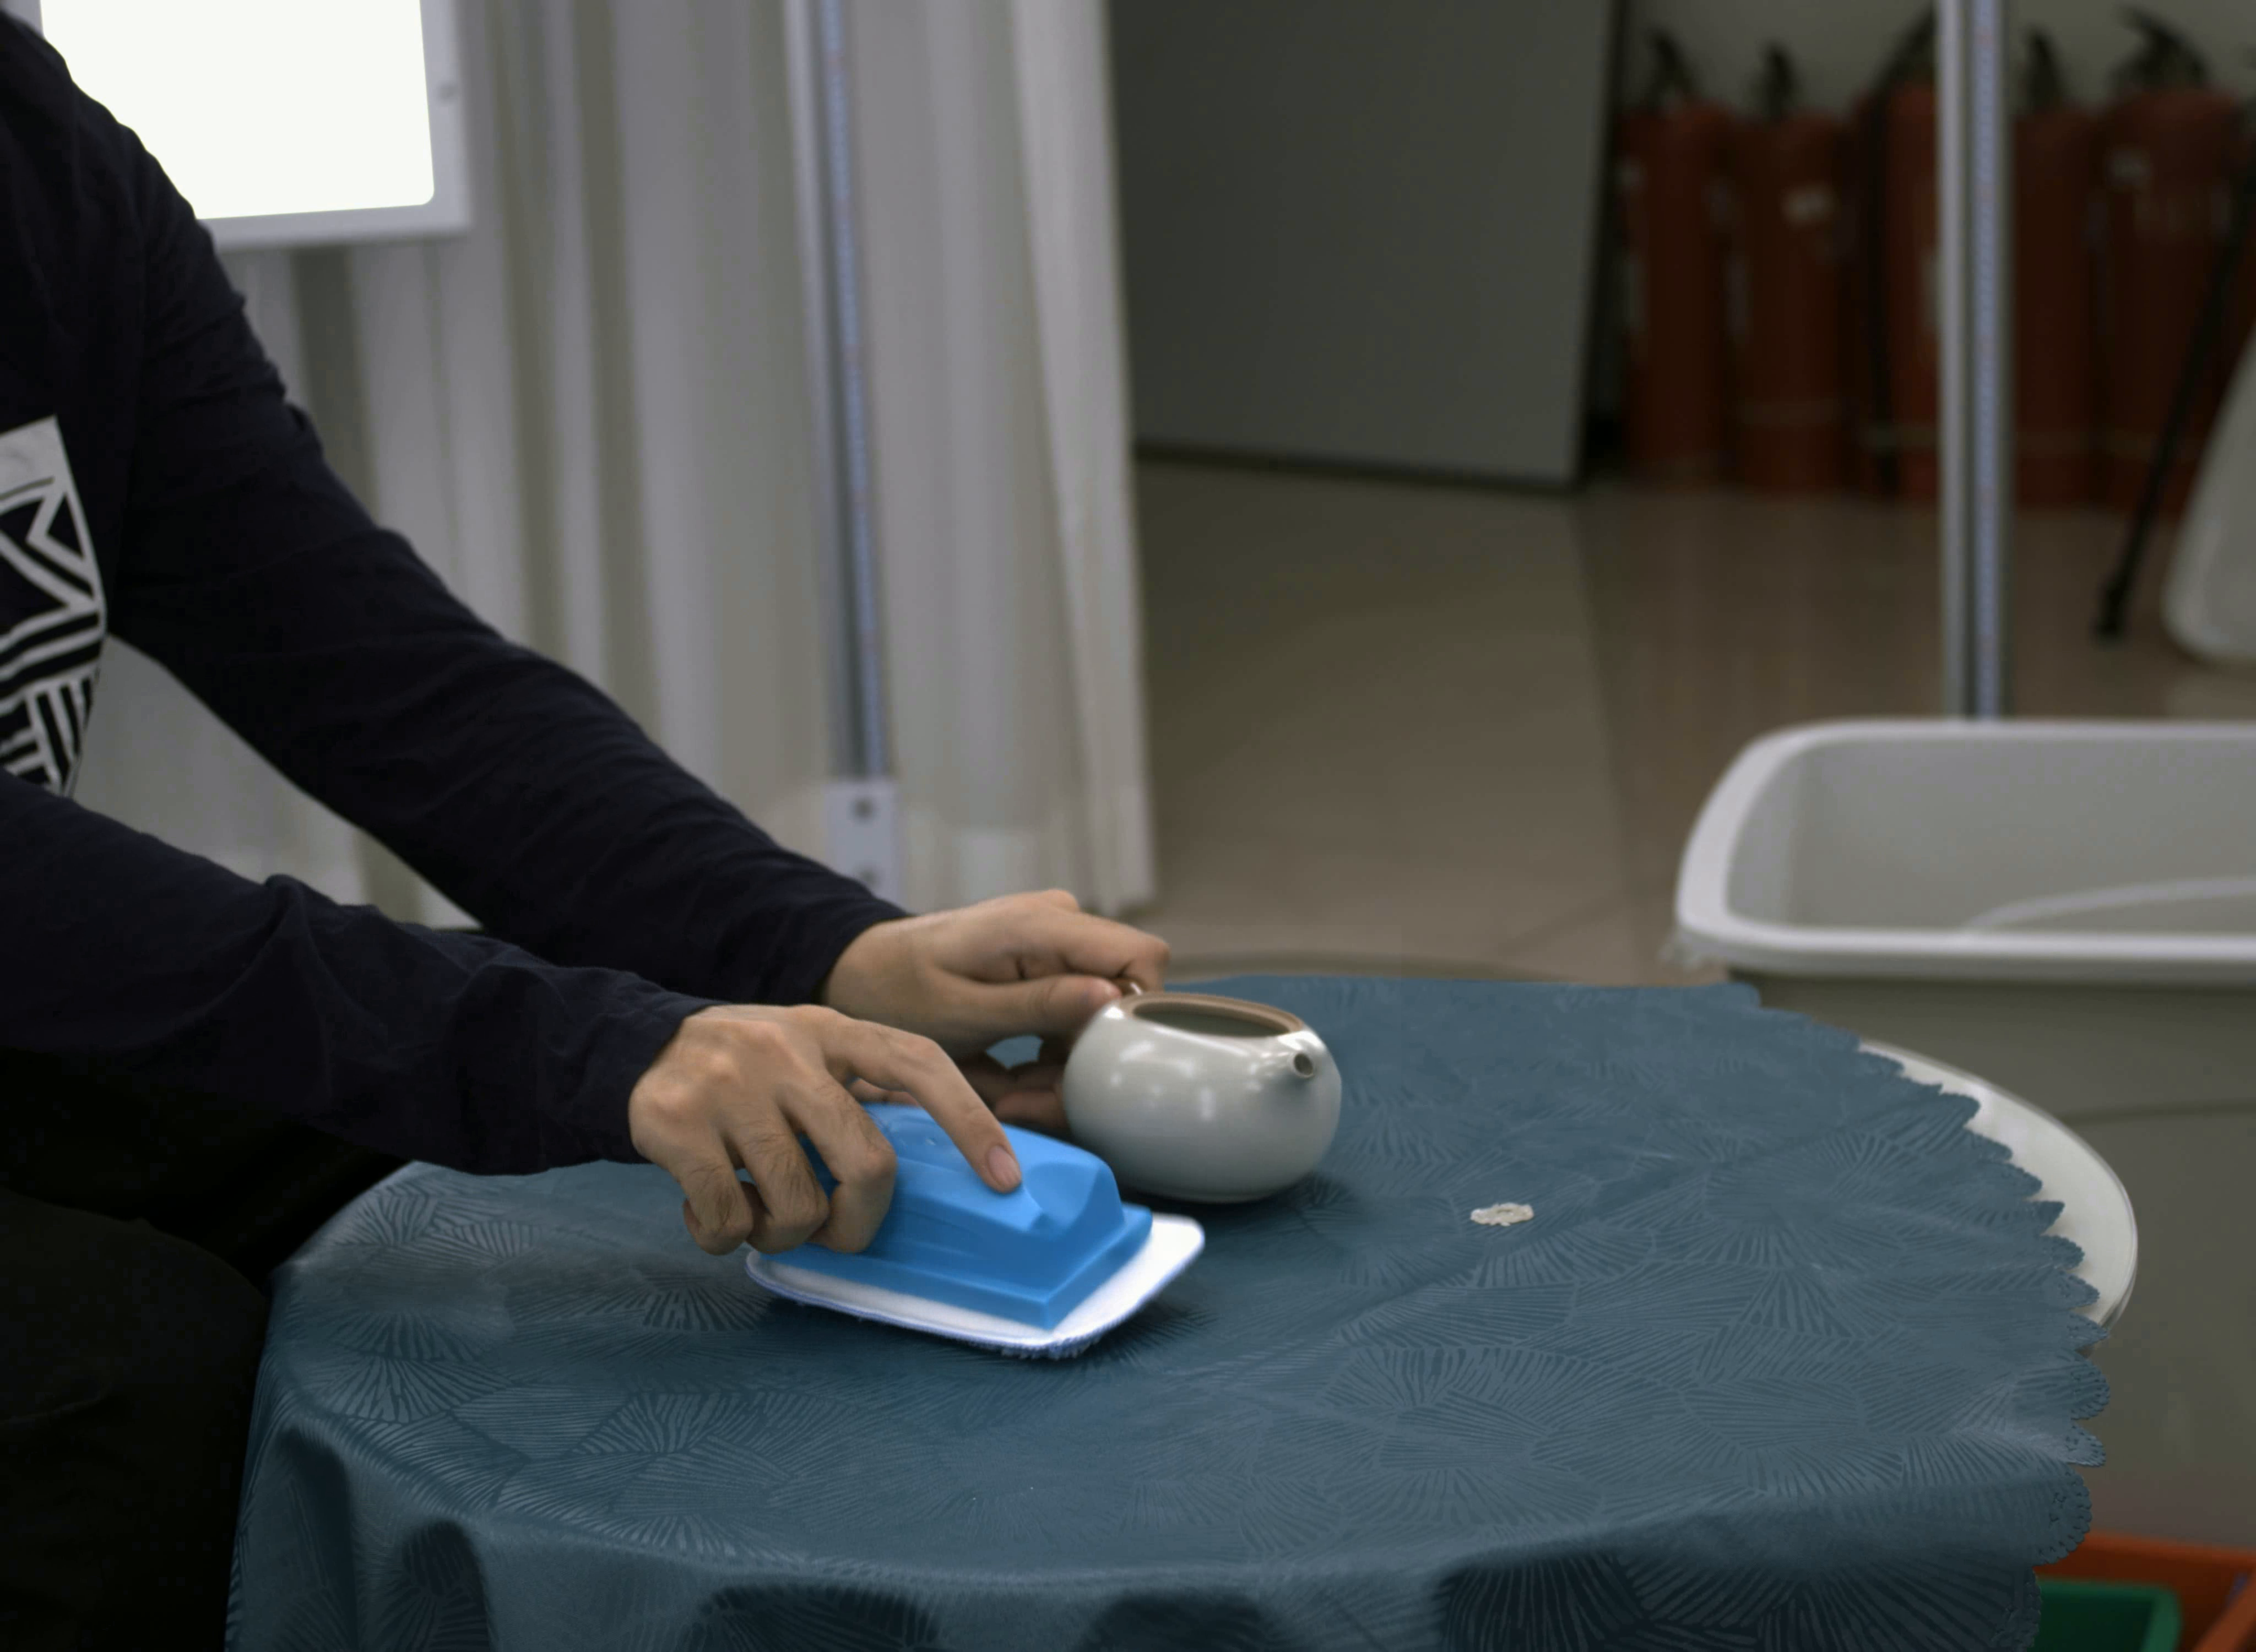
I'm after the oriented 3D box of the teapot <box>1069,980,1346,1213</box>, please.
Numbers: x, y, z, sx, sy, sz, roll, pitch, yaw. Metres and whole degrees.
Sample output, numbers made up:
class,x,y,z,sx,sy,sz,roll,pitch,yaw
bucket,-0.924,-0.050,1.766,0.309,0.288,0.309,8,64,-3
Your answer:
class,x,y,z,sx,sy,sz,roll,pitch,yaw
teapot,0.020,0.088,1.765,0.090,0.060,0.129,-9,18,-35

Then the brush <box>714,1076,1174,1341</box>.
class,x,y,z,sx,sy,sz,roll,pitch,yaw
brush,-0.058,0.115,1.666,0.145,0.056,0.082,14,30,41
